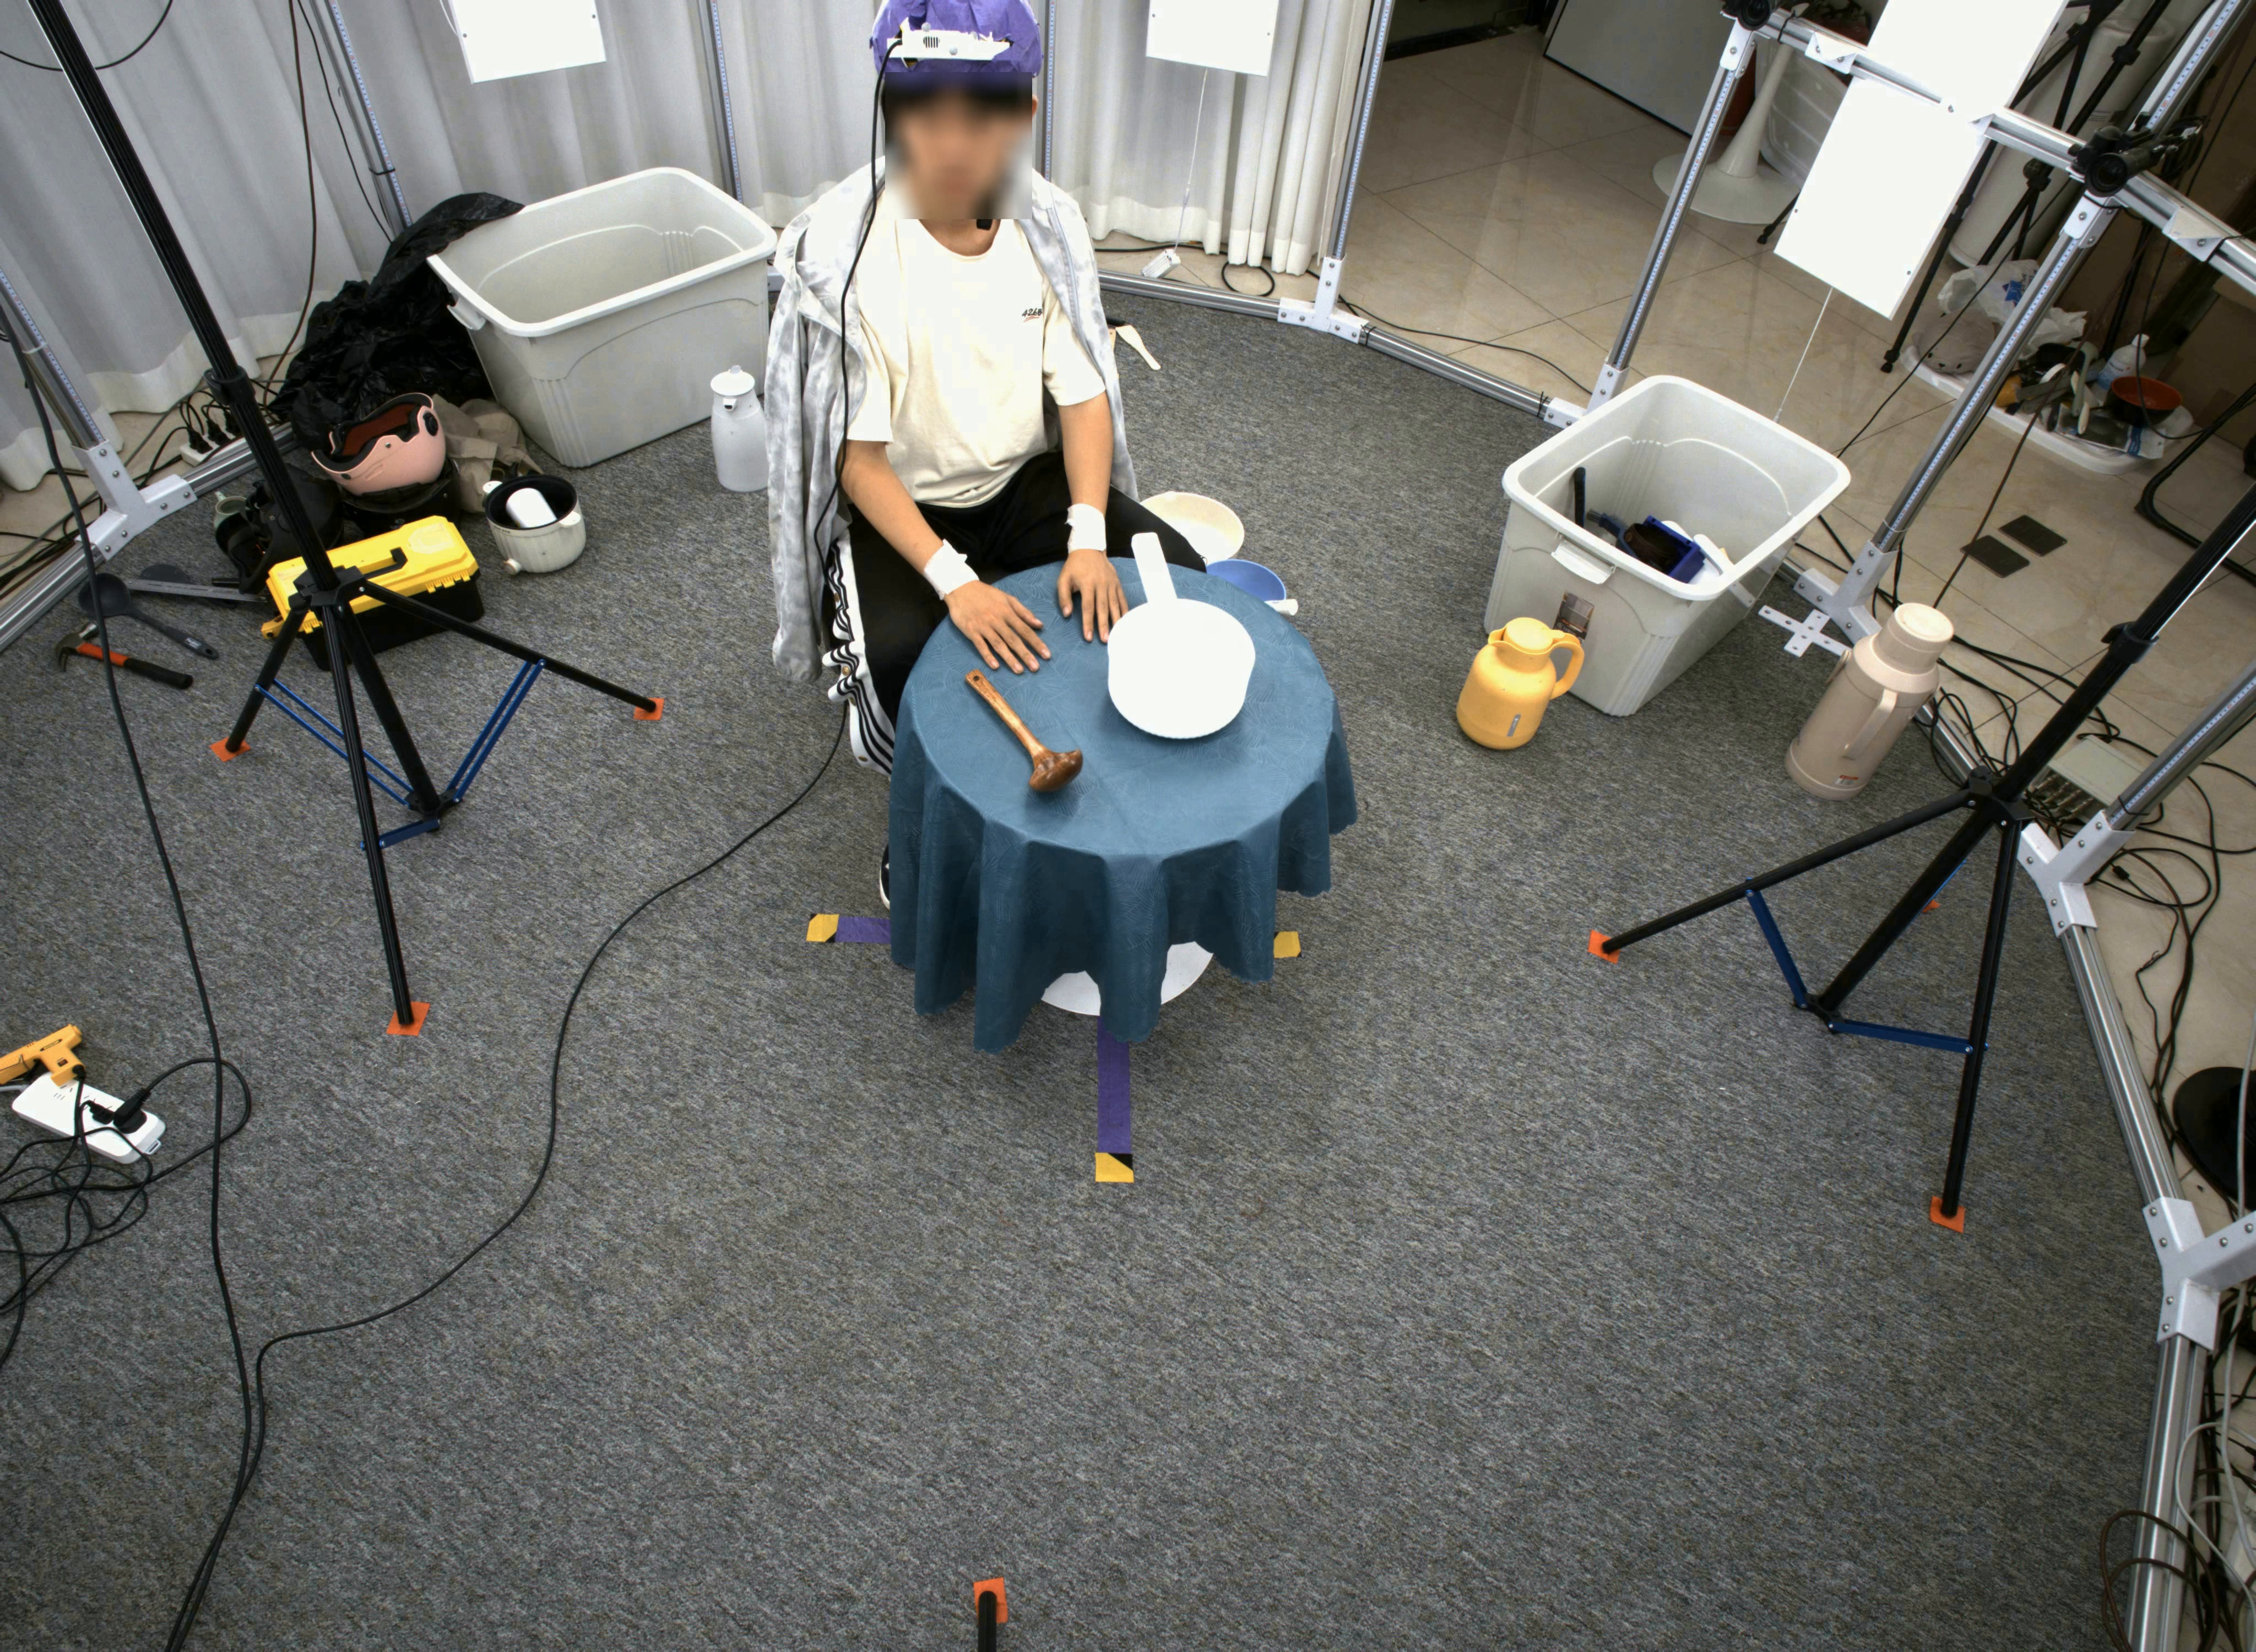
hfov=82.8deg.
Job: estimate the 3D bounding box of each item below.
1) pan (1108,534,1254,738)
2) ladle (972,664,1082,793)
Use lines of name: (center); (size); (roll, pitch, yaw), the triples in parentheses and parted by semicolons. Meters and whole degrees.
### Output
pan: (0.057, -0.272, 1.839); (0.201, 0.099, 0.364); (-6, 49, -8)
ladle: (-0.151, -0.145, 1.725); (0.082, 0.075, 0.280); (-29, 57, -12)
